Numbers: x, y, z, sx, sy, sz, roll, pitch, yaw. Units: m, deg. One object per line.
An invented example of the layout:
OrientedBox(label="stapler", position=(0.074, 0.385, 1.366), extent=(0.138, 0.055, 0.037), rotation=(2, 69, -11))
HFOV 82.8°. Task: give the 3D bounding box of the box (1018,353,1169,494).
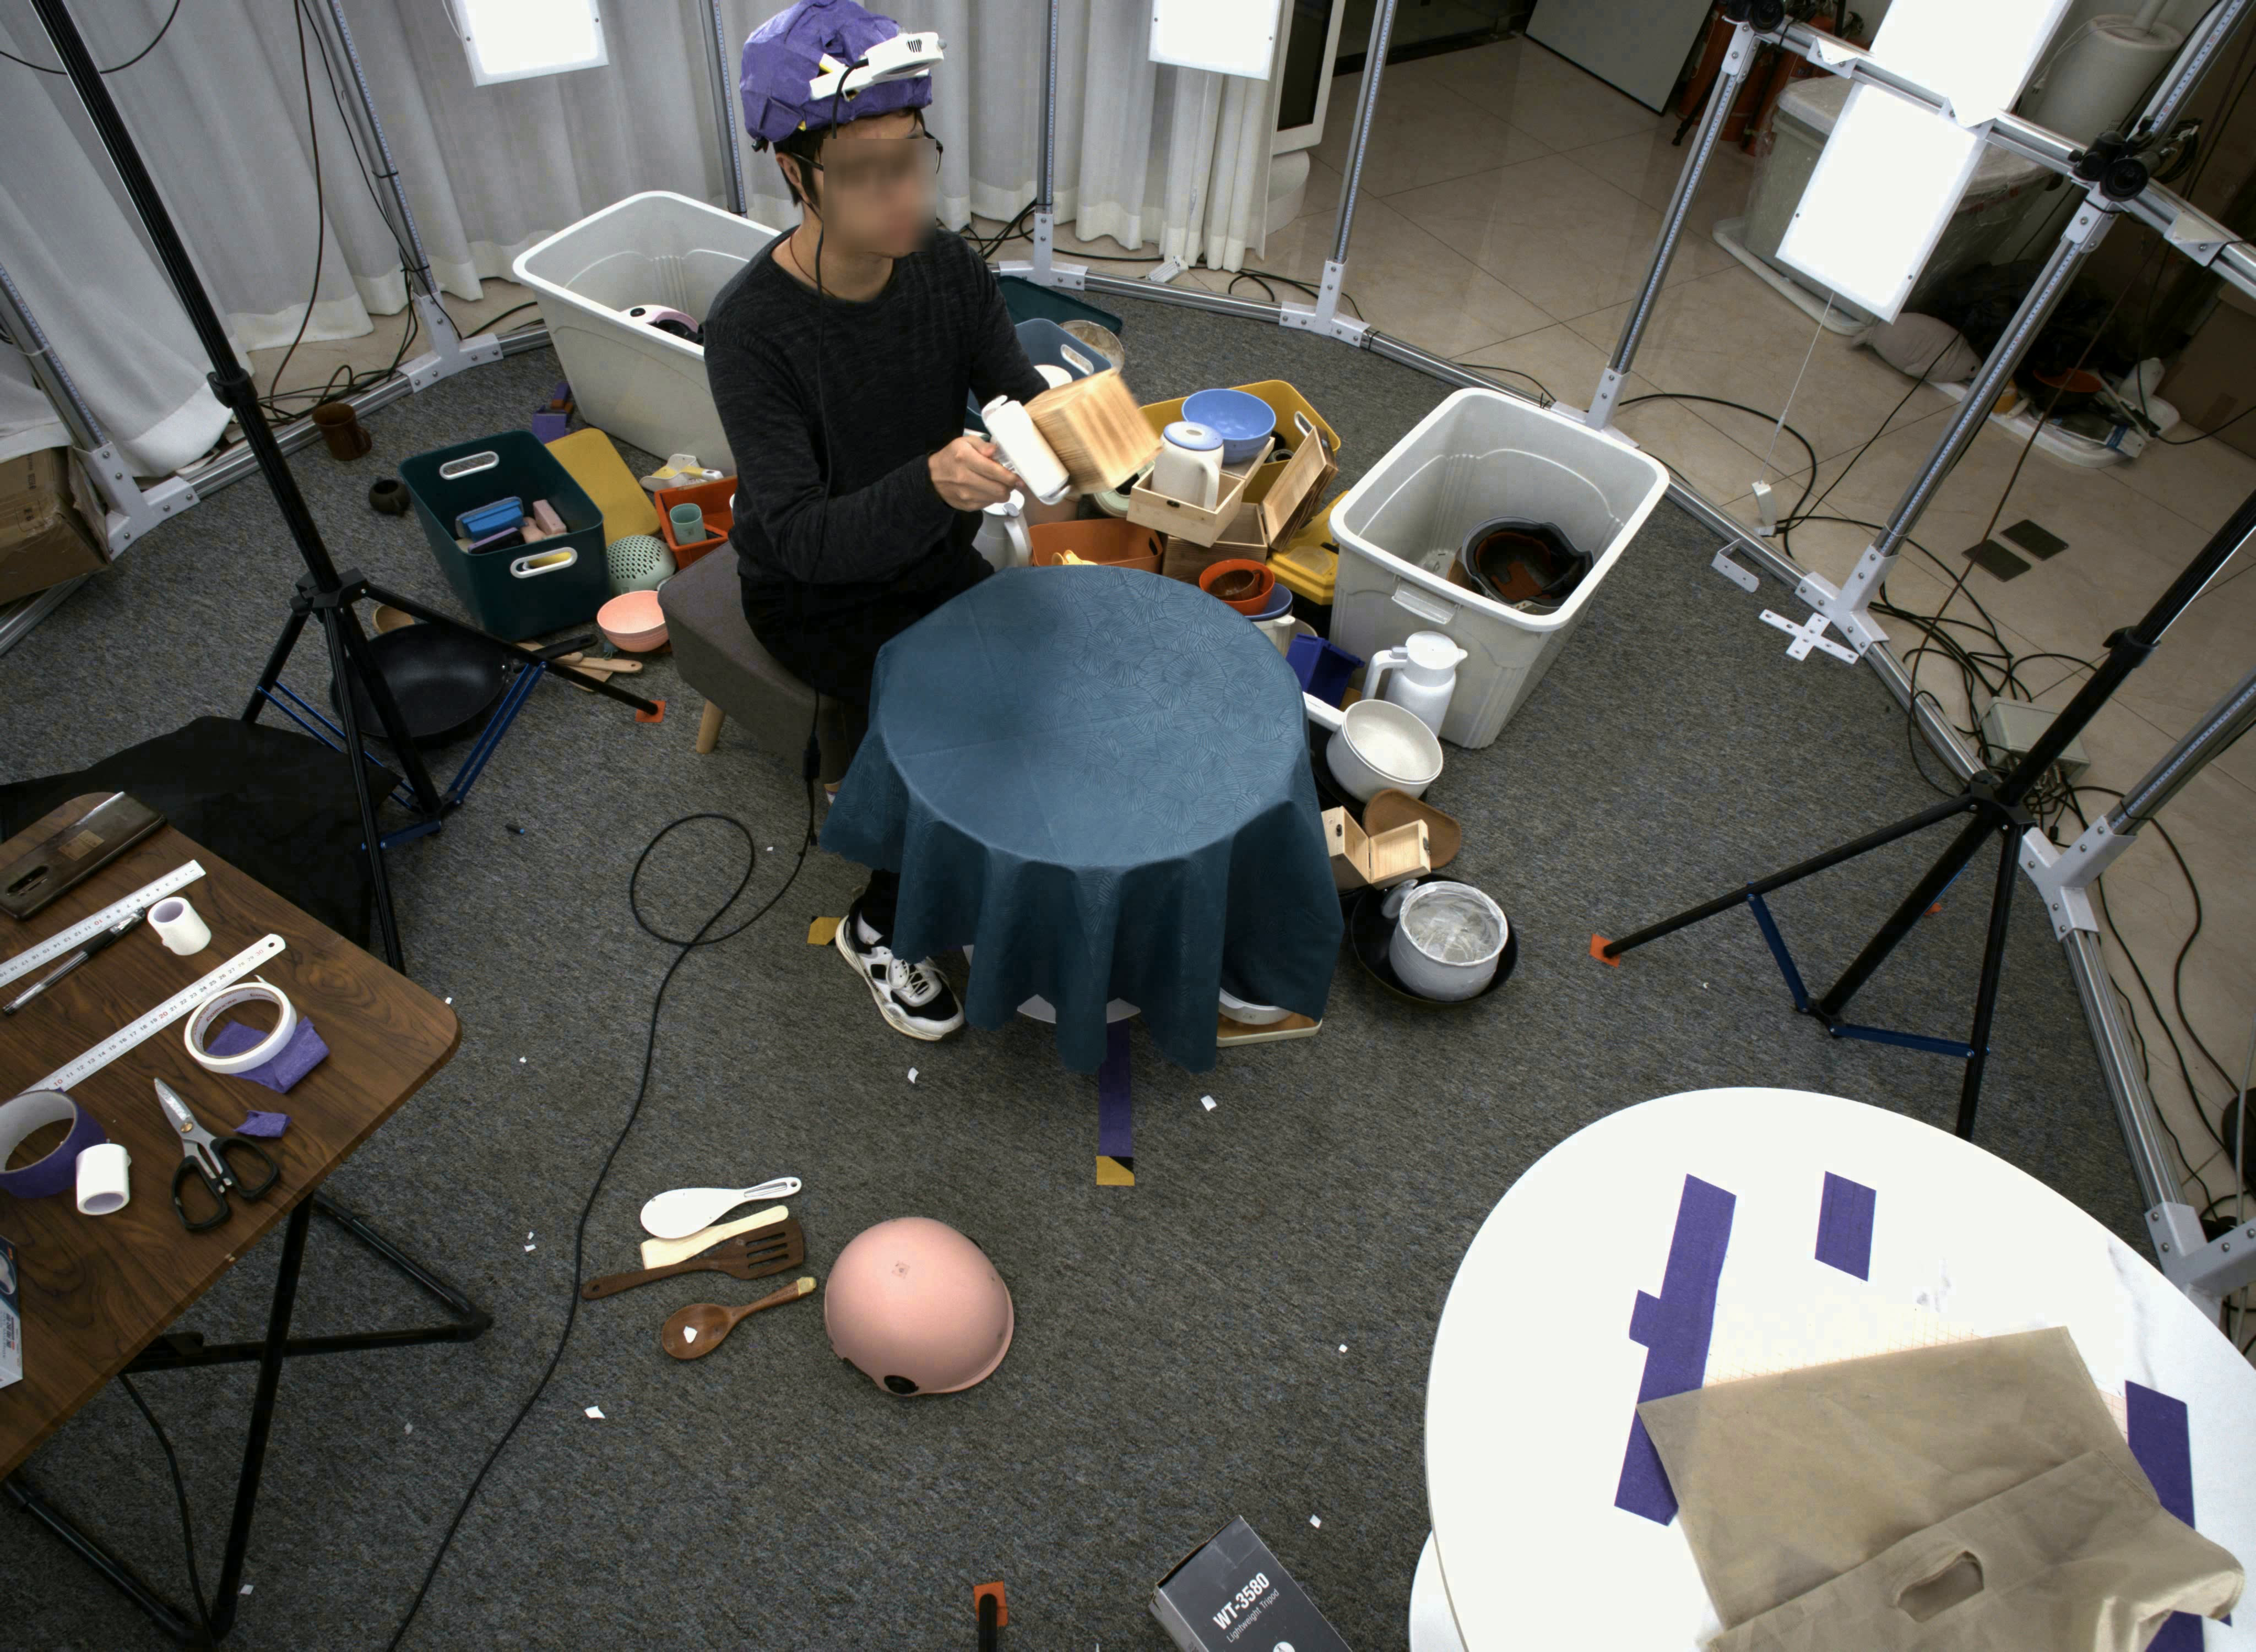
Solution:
OrientedBox(label="box", position=(-0.056, -0.448, 1.467), extent=(0.081, 0.106, 0.213), rotation=(-41, 23, -14))

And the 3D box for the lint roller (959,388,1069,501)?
OrientedBox(label="lint roller", position=(-0.156, -0.417, 1.497), extent=(0.180, 0.131, 0.051), rotation=(-13, 30, 49))
